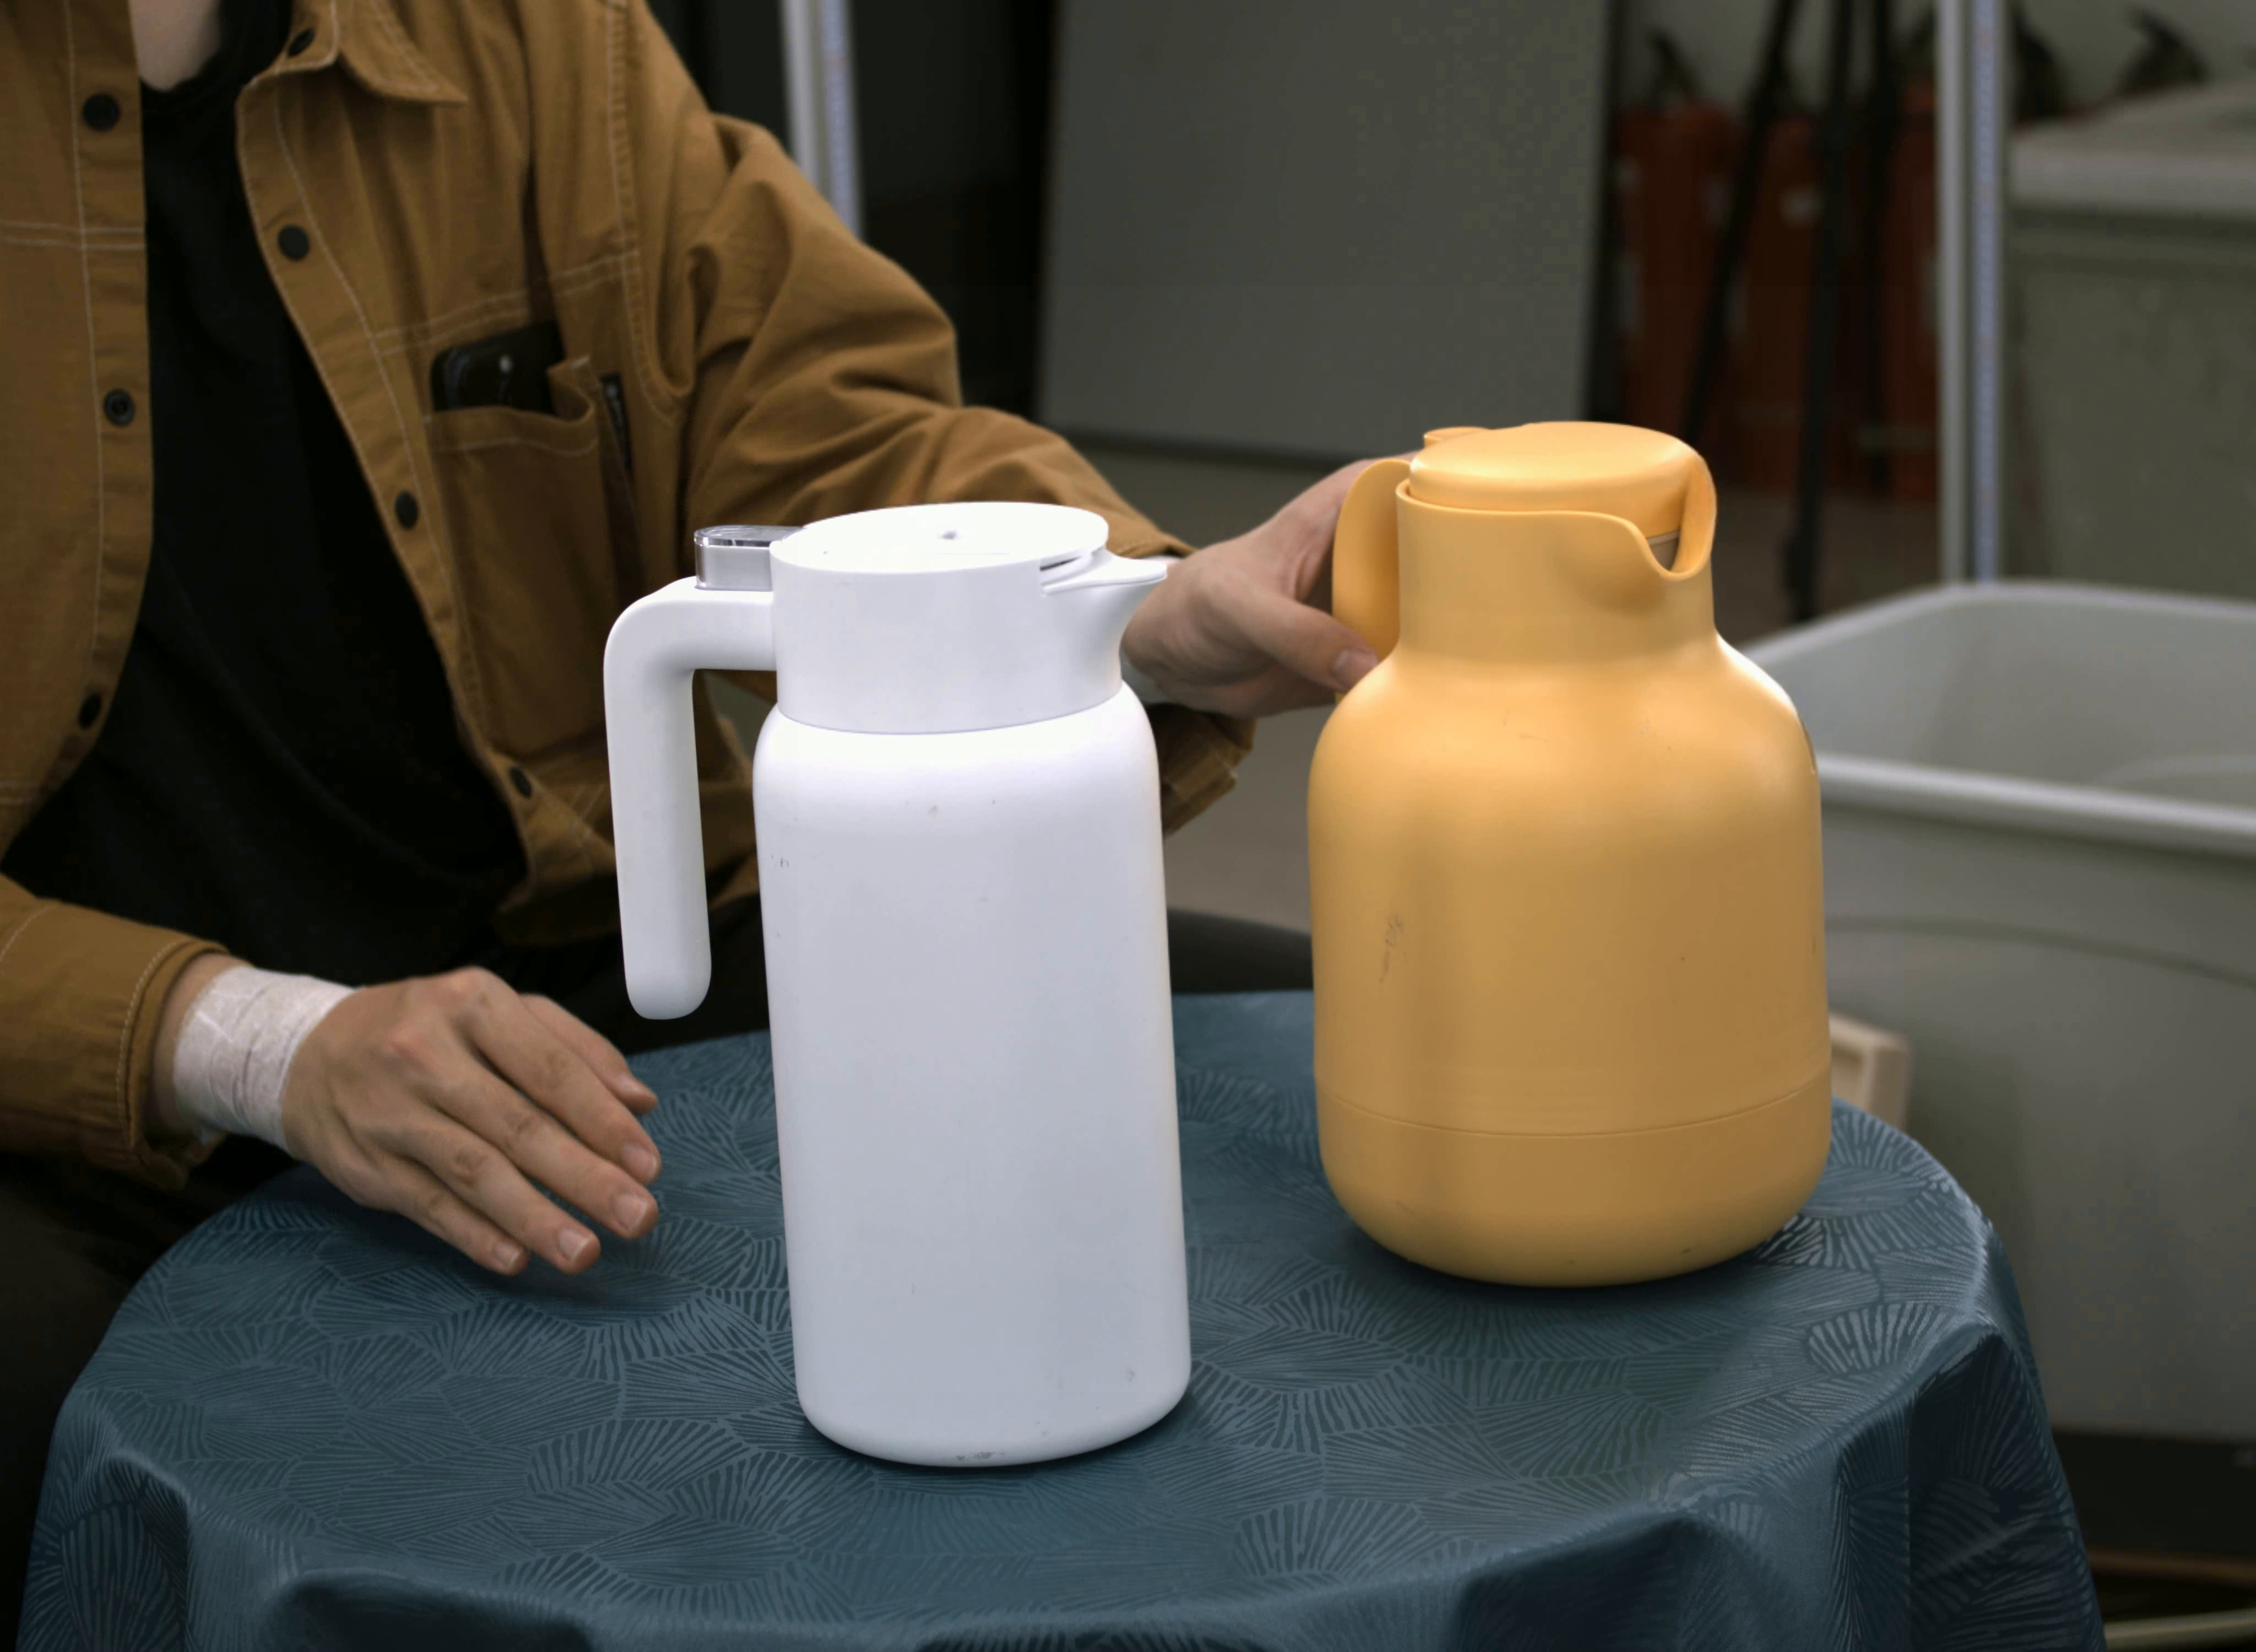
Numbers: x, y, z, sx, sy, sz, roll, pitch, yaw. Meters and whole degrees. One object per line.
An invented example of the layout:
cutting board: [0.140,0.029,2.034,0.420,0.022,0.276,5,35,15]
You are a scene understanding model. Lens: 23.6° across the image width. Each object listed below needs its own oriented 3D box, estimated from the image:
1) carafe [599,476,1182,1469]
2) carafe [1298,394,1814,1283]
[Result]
carafe: [-0.065,0.041,1.557,0.172,0.272,0.122,1,16,21]
carafe: [0.125,-0.004,1.688,0.160,0.263,0.204,-6,15,-23]
